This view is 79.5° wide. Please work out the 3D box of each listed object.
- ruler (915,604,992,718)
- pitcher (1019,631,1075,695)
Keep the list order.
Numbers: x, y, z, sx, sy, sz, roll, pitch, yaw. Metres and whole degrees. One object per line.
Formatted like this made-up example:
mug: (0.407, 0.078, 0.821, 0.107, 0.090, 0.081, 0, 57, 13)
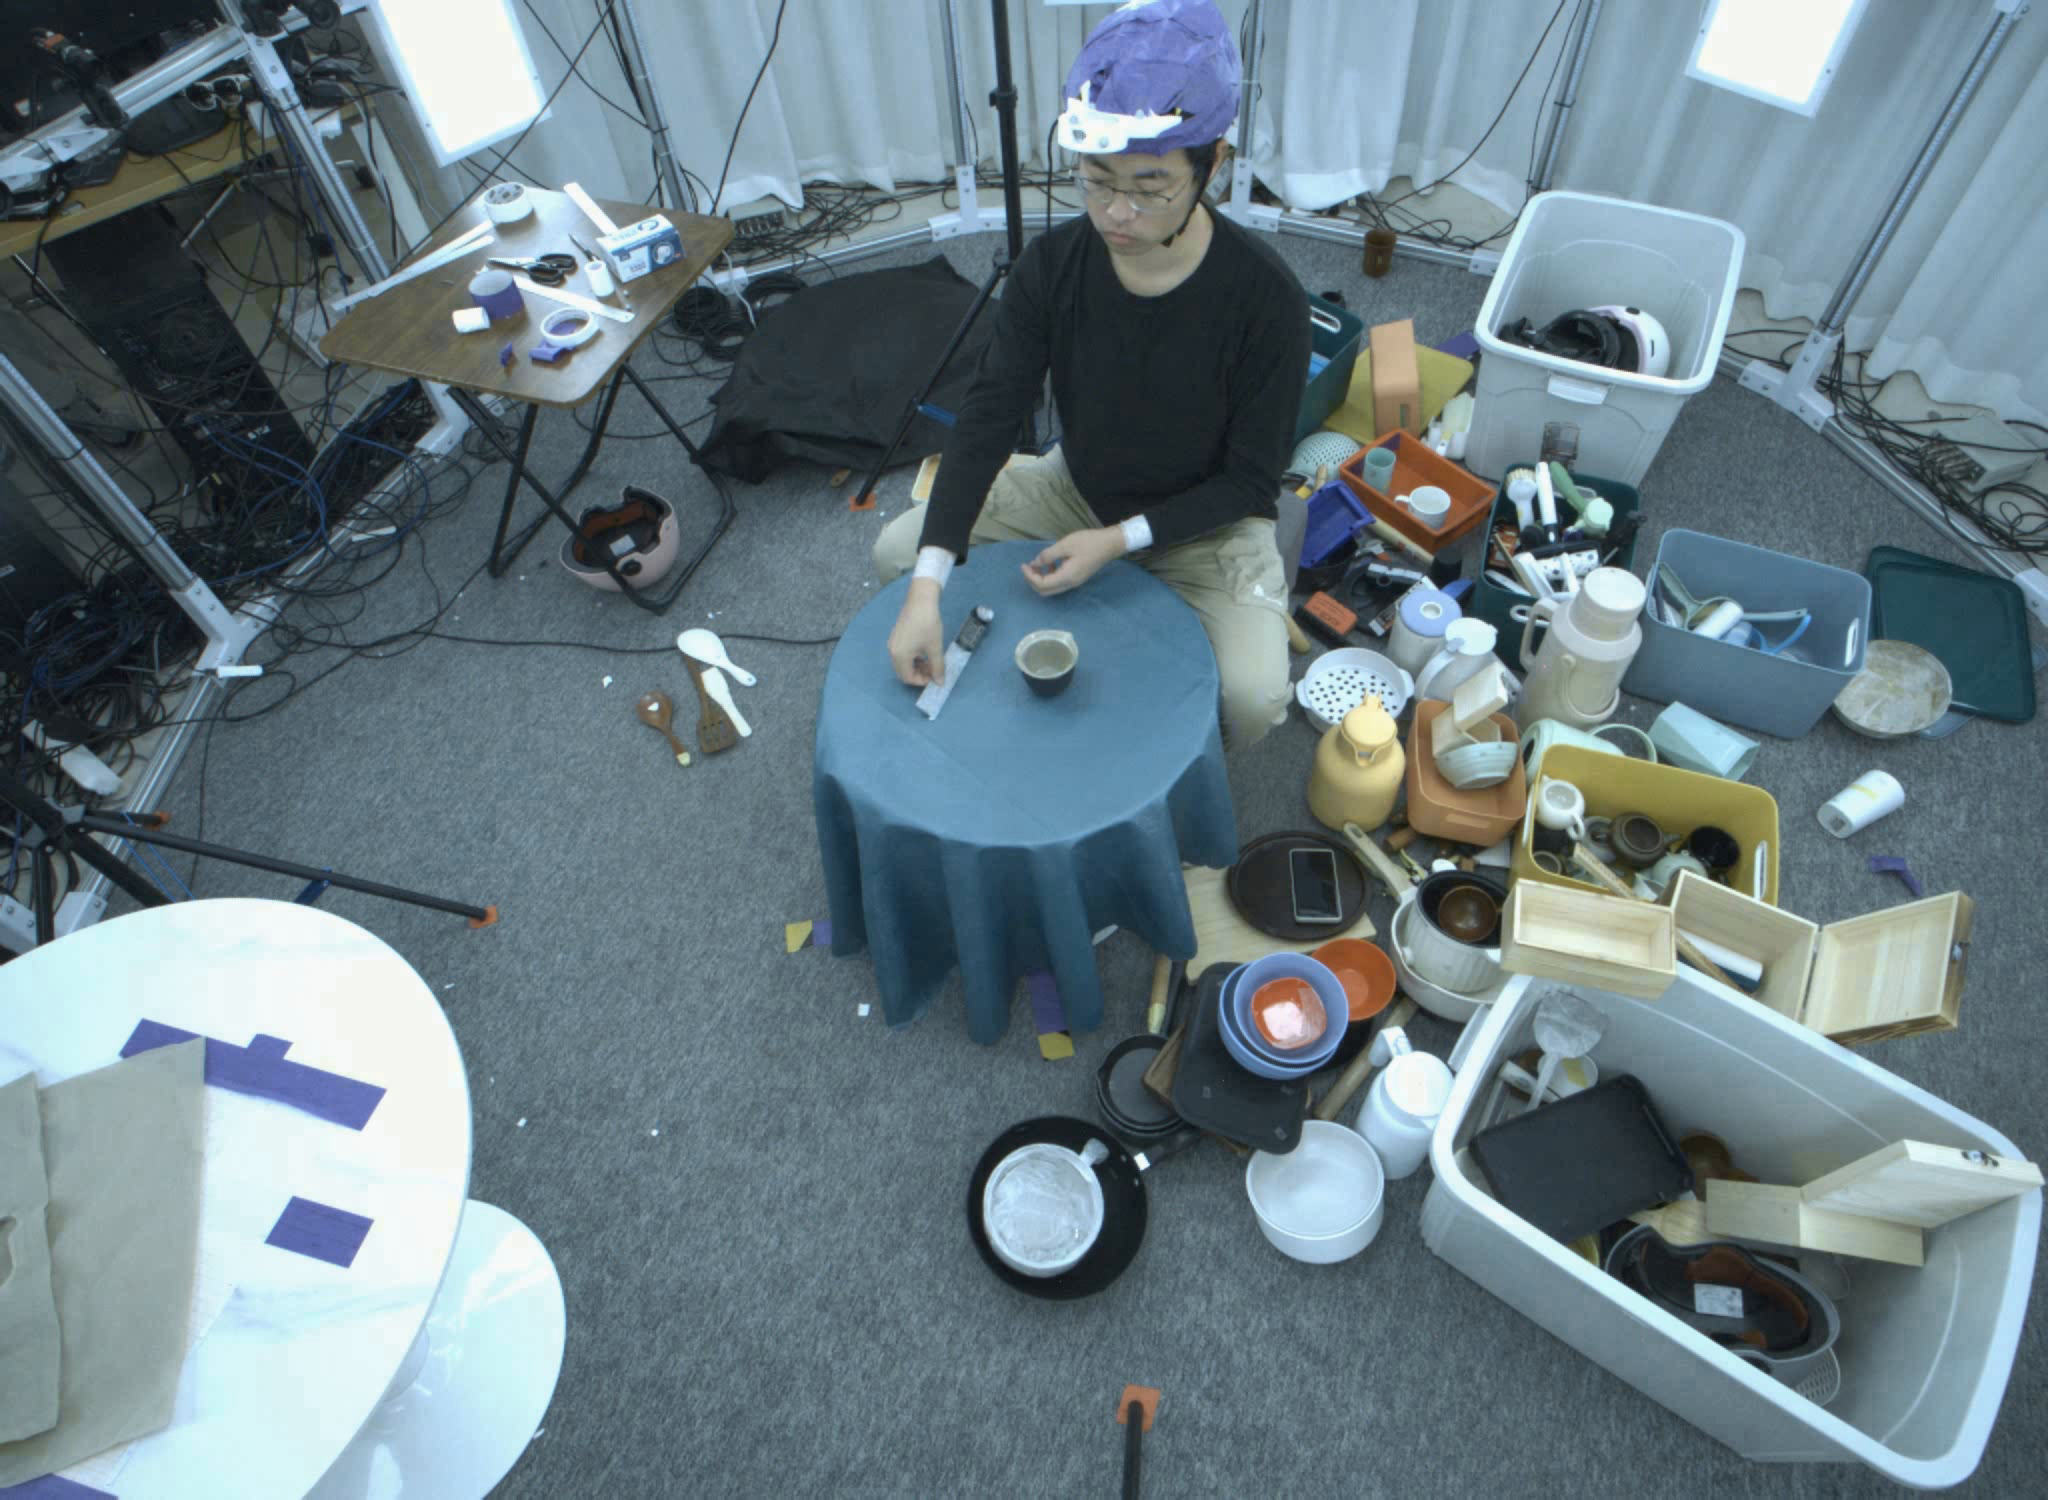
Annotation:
ruler: (-0.103, -0.141, 1.867, 0.038, 0.024, 0.218, 33, 56, -10)
pitcher: (0.039, -0.125, 1.830, 0.082, 0.072, 0.096, 33, 63, 24)
